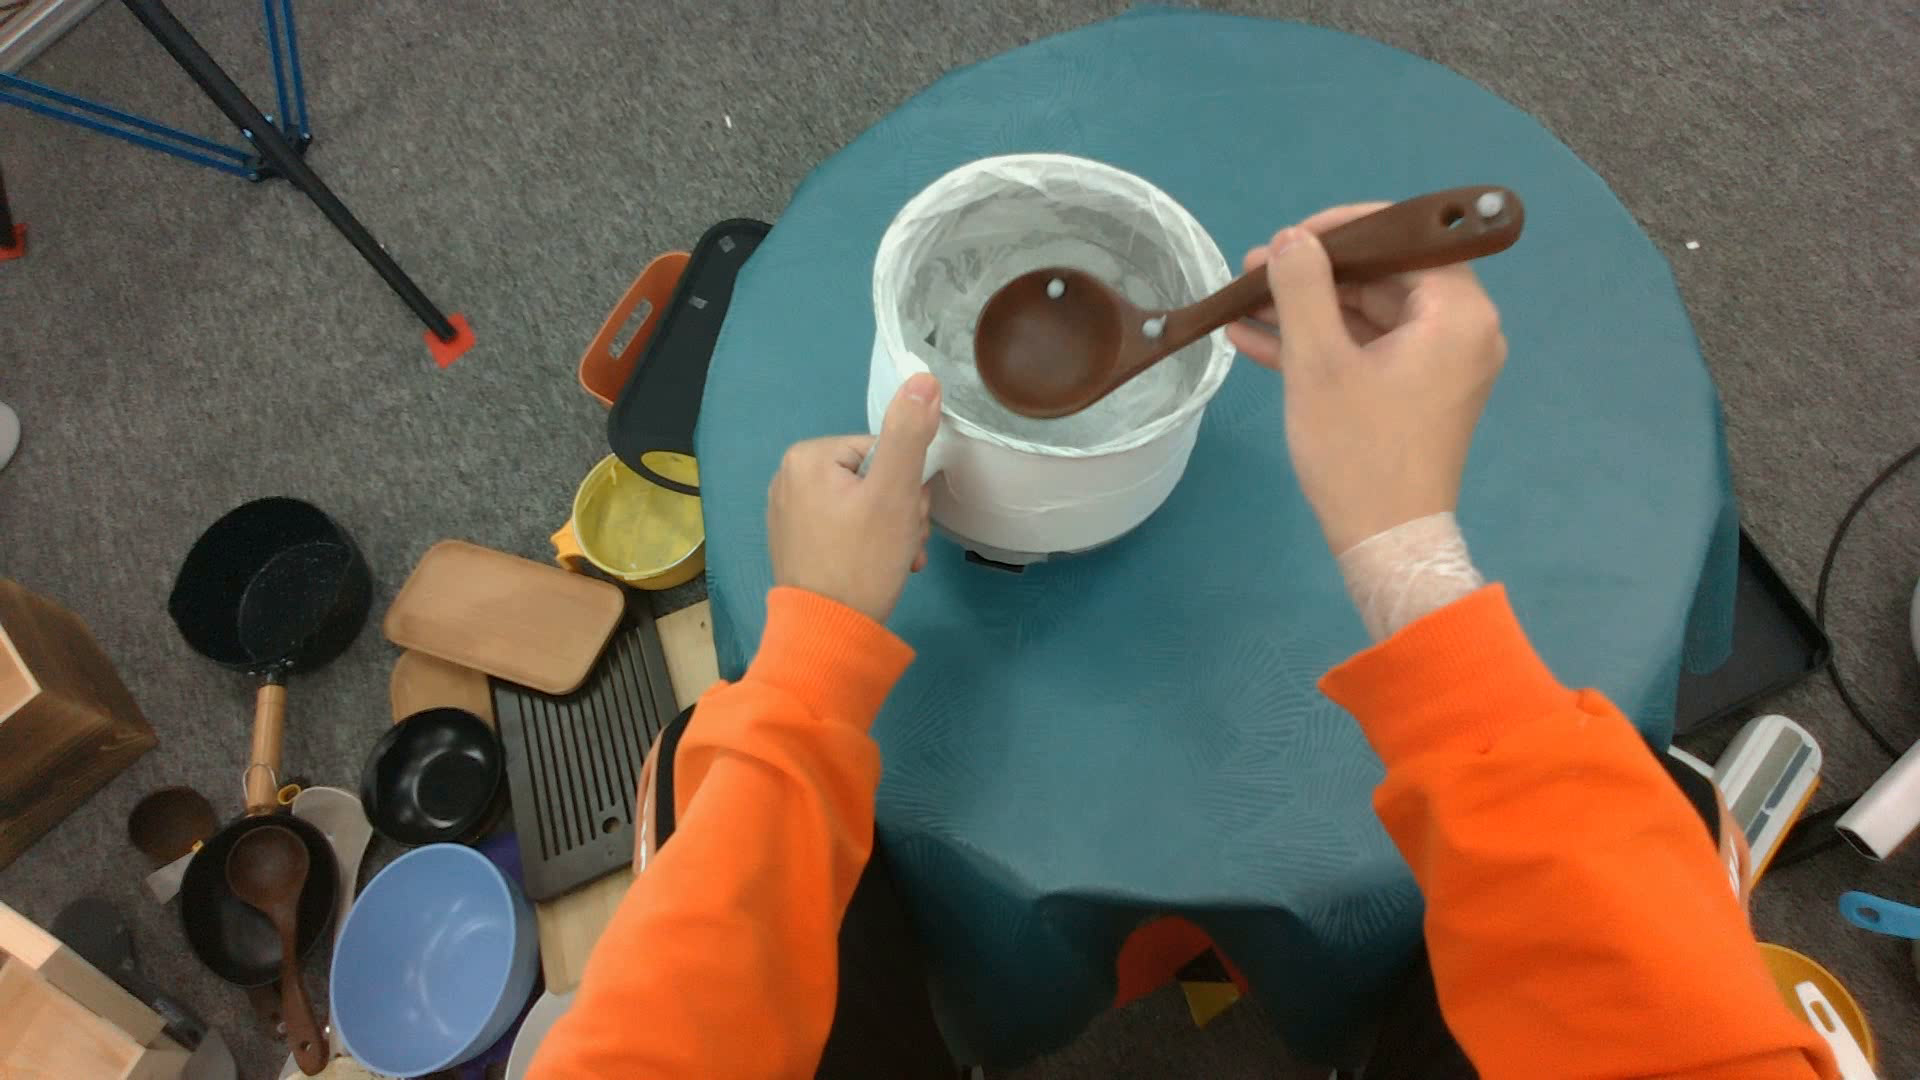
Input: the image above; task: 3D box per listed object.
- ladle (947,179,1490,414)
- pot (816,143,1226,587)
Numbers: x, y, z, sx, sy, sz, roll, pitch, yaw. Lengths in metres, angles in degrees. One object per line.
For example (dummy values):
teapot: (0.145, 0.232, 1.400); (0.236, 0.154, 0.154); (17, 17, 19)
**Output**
ladle: (0.092, -0.108, 0.583); (0.065, 0.259, 0.076); (12, 76, -36)
pot: (0.018, -0.077, 0.702); (0.179, 0.136, 0.234); (38, 65, 14)
